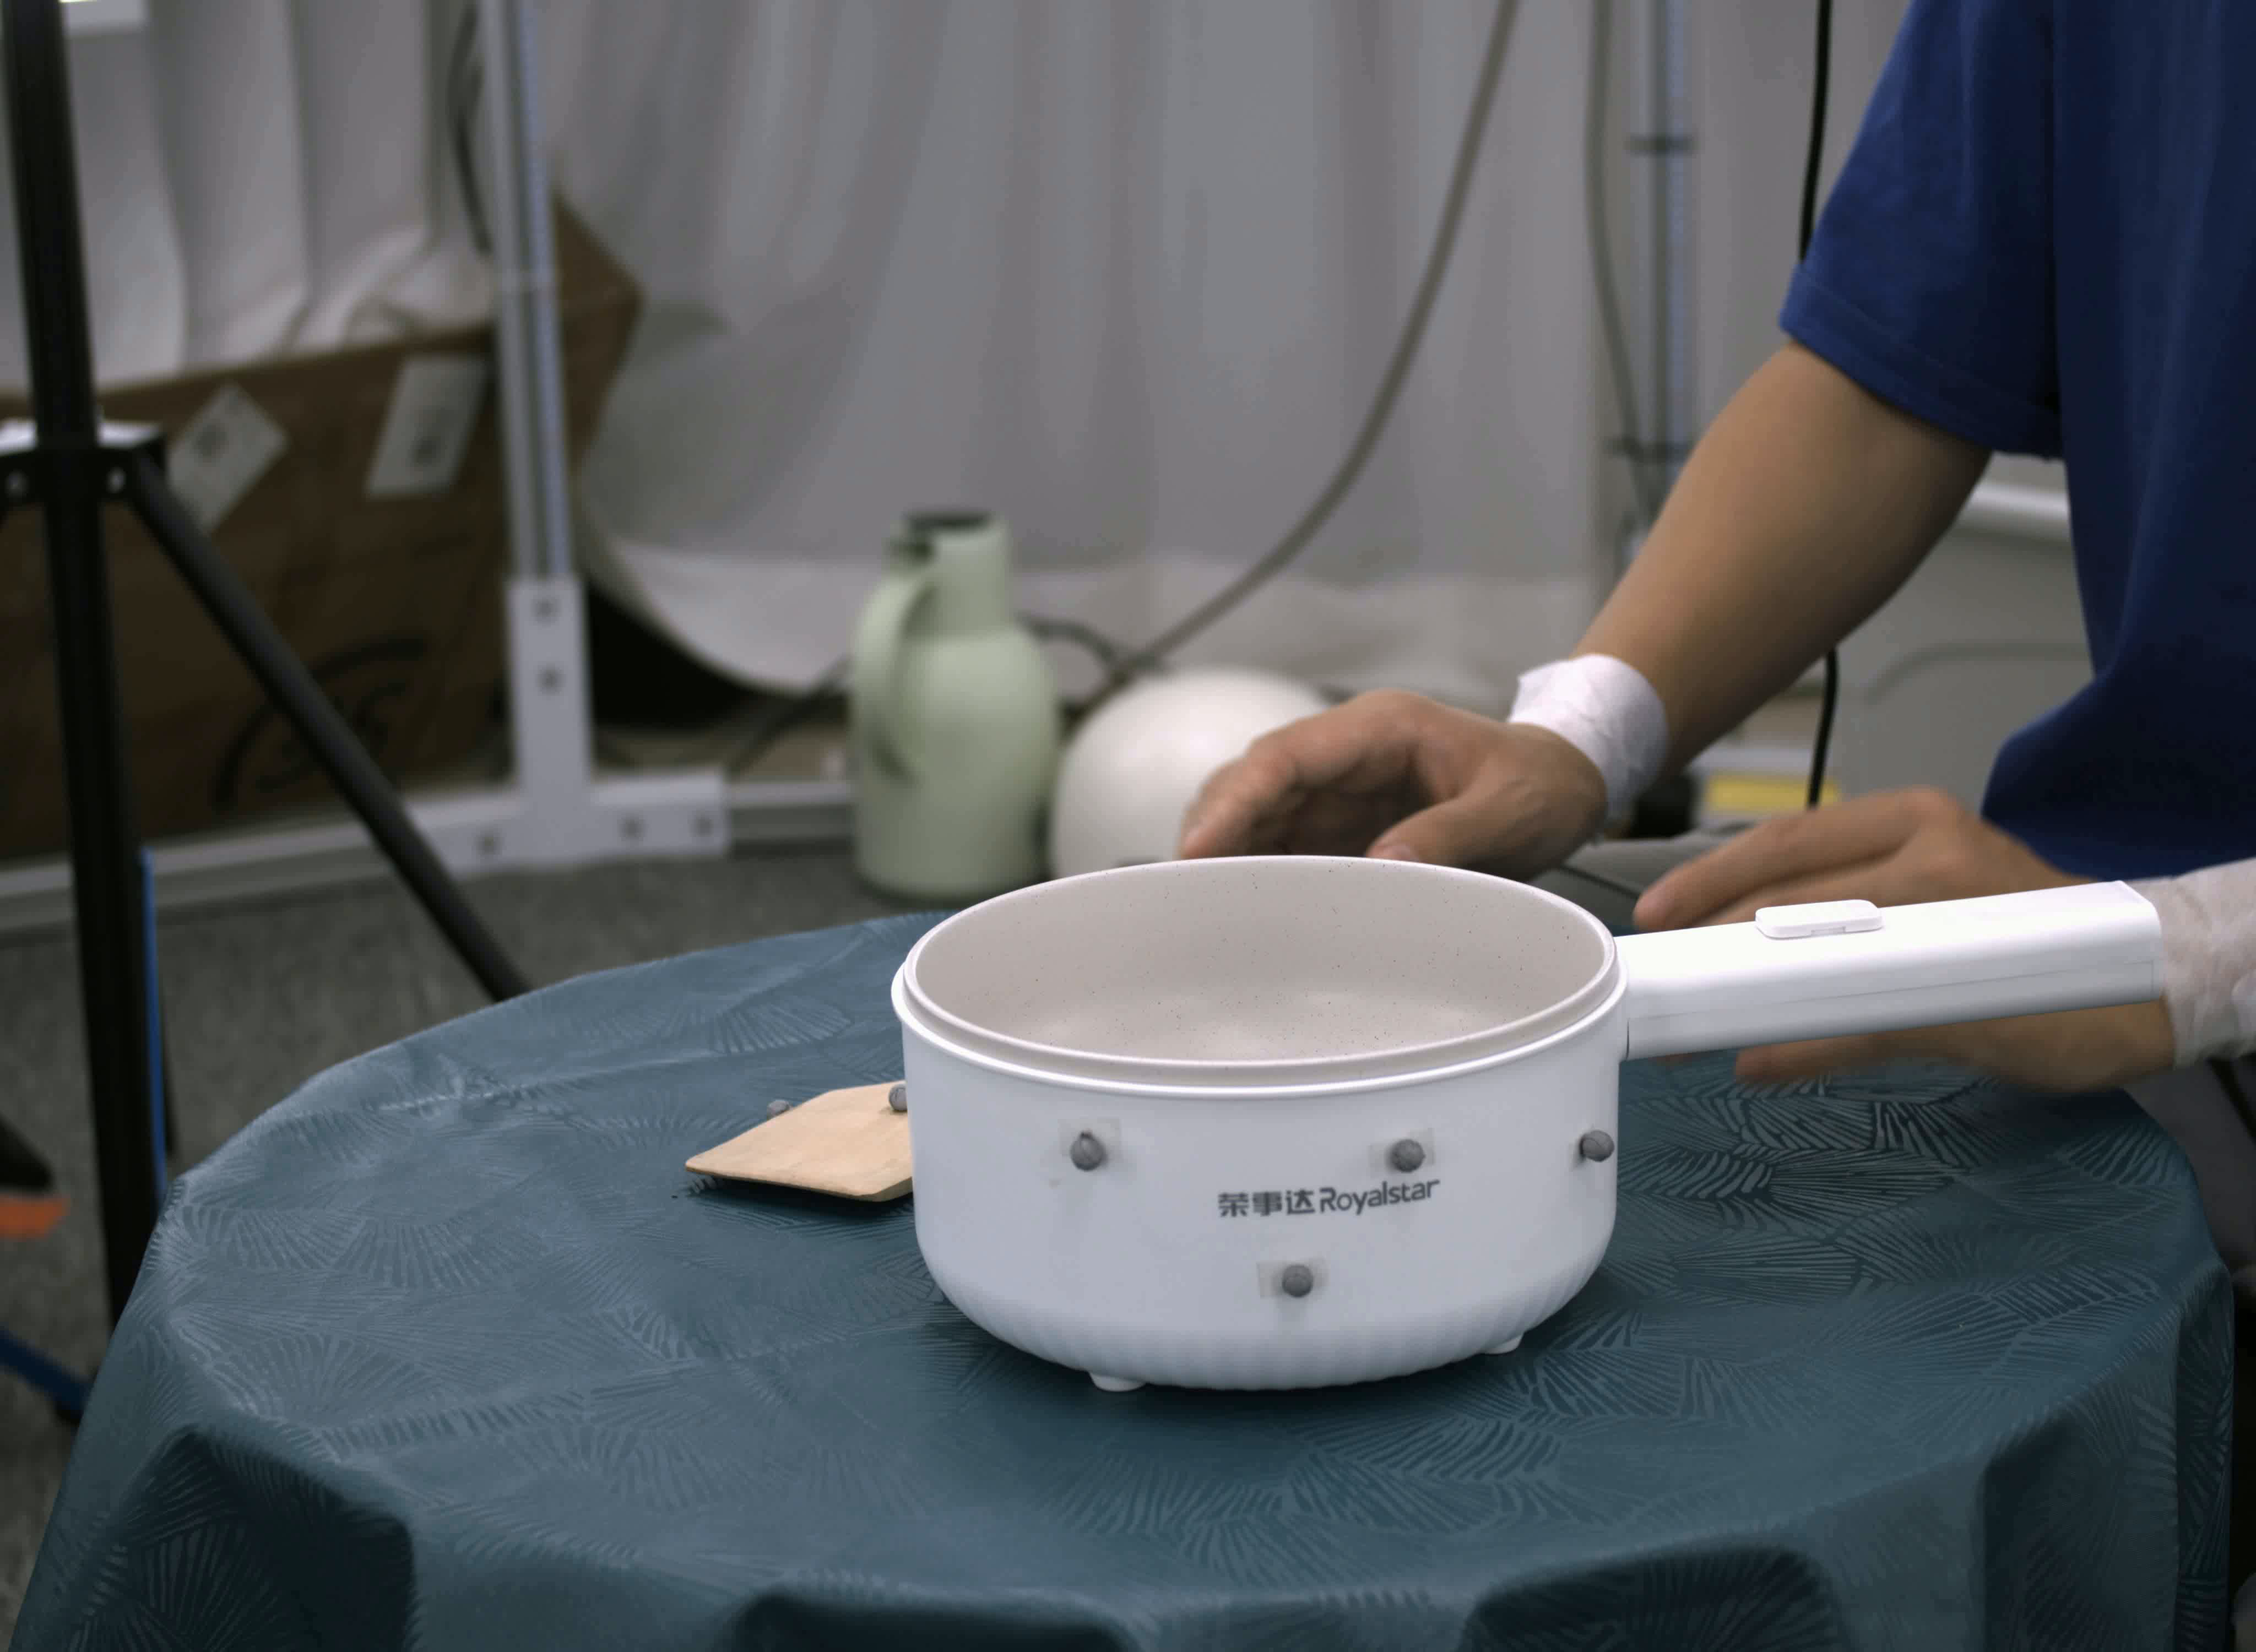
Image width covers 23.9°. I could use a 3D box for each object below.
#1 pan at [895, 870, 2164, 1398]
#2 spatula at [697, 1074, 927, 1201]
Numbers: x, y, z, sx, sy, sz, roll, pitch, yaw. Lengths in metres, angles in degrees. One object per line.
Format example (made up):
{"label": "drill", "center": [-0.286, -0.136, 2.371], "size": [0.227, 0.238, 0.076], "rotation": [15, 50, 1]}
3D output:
{"label": "pan", "center": [0.113, 0.079, 1.466], "size": [0.351, 0.102, 0.203], "rotation": [-5, 14, -8]}
{"label": "spatula", "center": [-0.030, 0.070, 1.680], "size": [0.073, 0.010, 0.288], "rotation": [5, 18, 30]}
